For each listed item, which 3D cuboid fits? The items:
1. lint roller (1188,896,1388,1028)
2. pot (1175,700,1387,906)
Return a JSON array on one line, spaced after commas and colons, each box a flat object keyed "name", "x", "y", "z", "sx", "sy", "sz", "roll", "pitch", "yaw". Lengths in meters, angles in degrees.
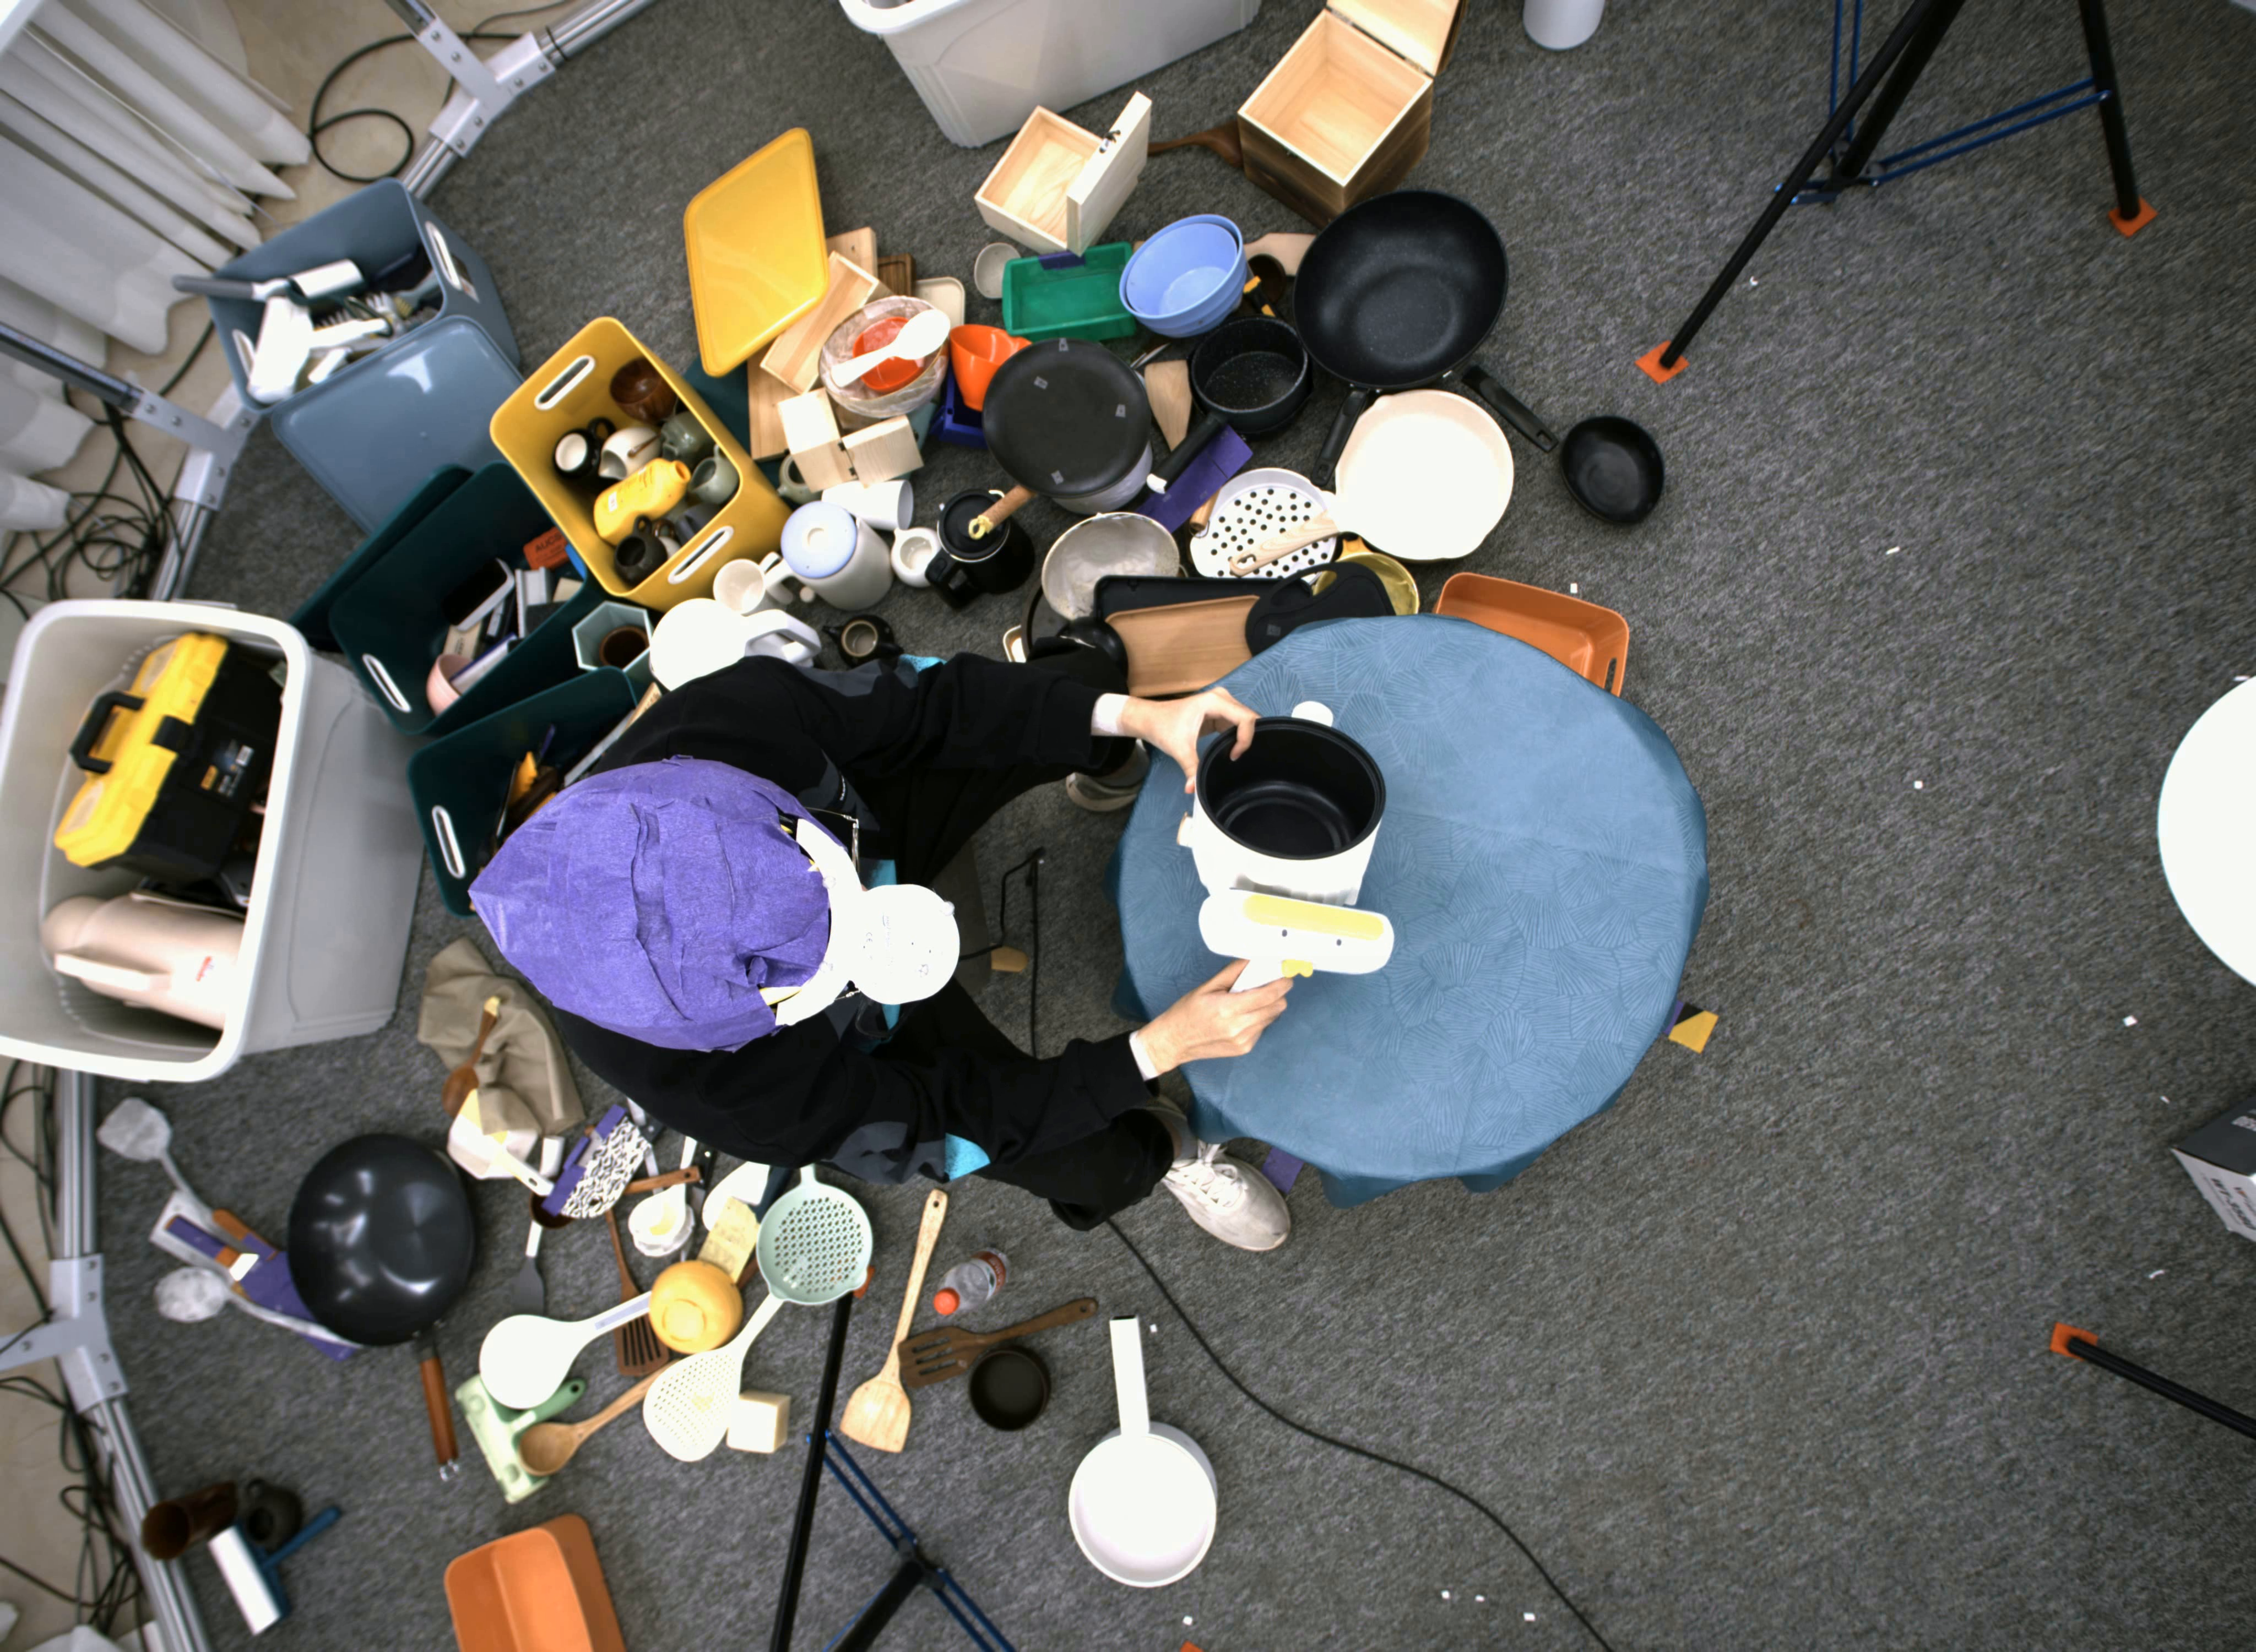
[{"name": "lint roller", "x": 0.132, "y": 0.133, "z": 1.333, "sx": 0.192, "sy": 0.197, "sz": 0.072, "roll": 2, "pitch": 61, "yaw": -21}, {"name": "pot", "x": 0.144, "y": 0.001, "z": 1.349, "sx": 0.191, "sy": 0.146, "sz": 0.234, "roll": 16, "pitch": 51, "yaw": 7}]
